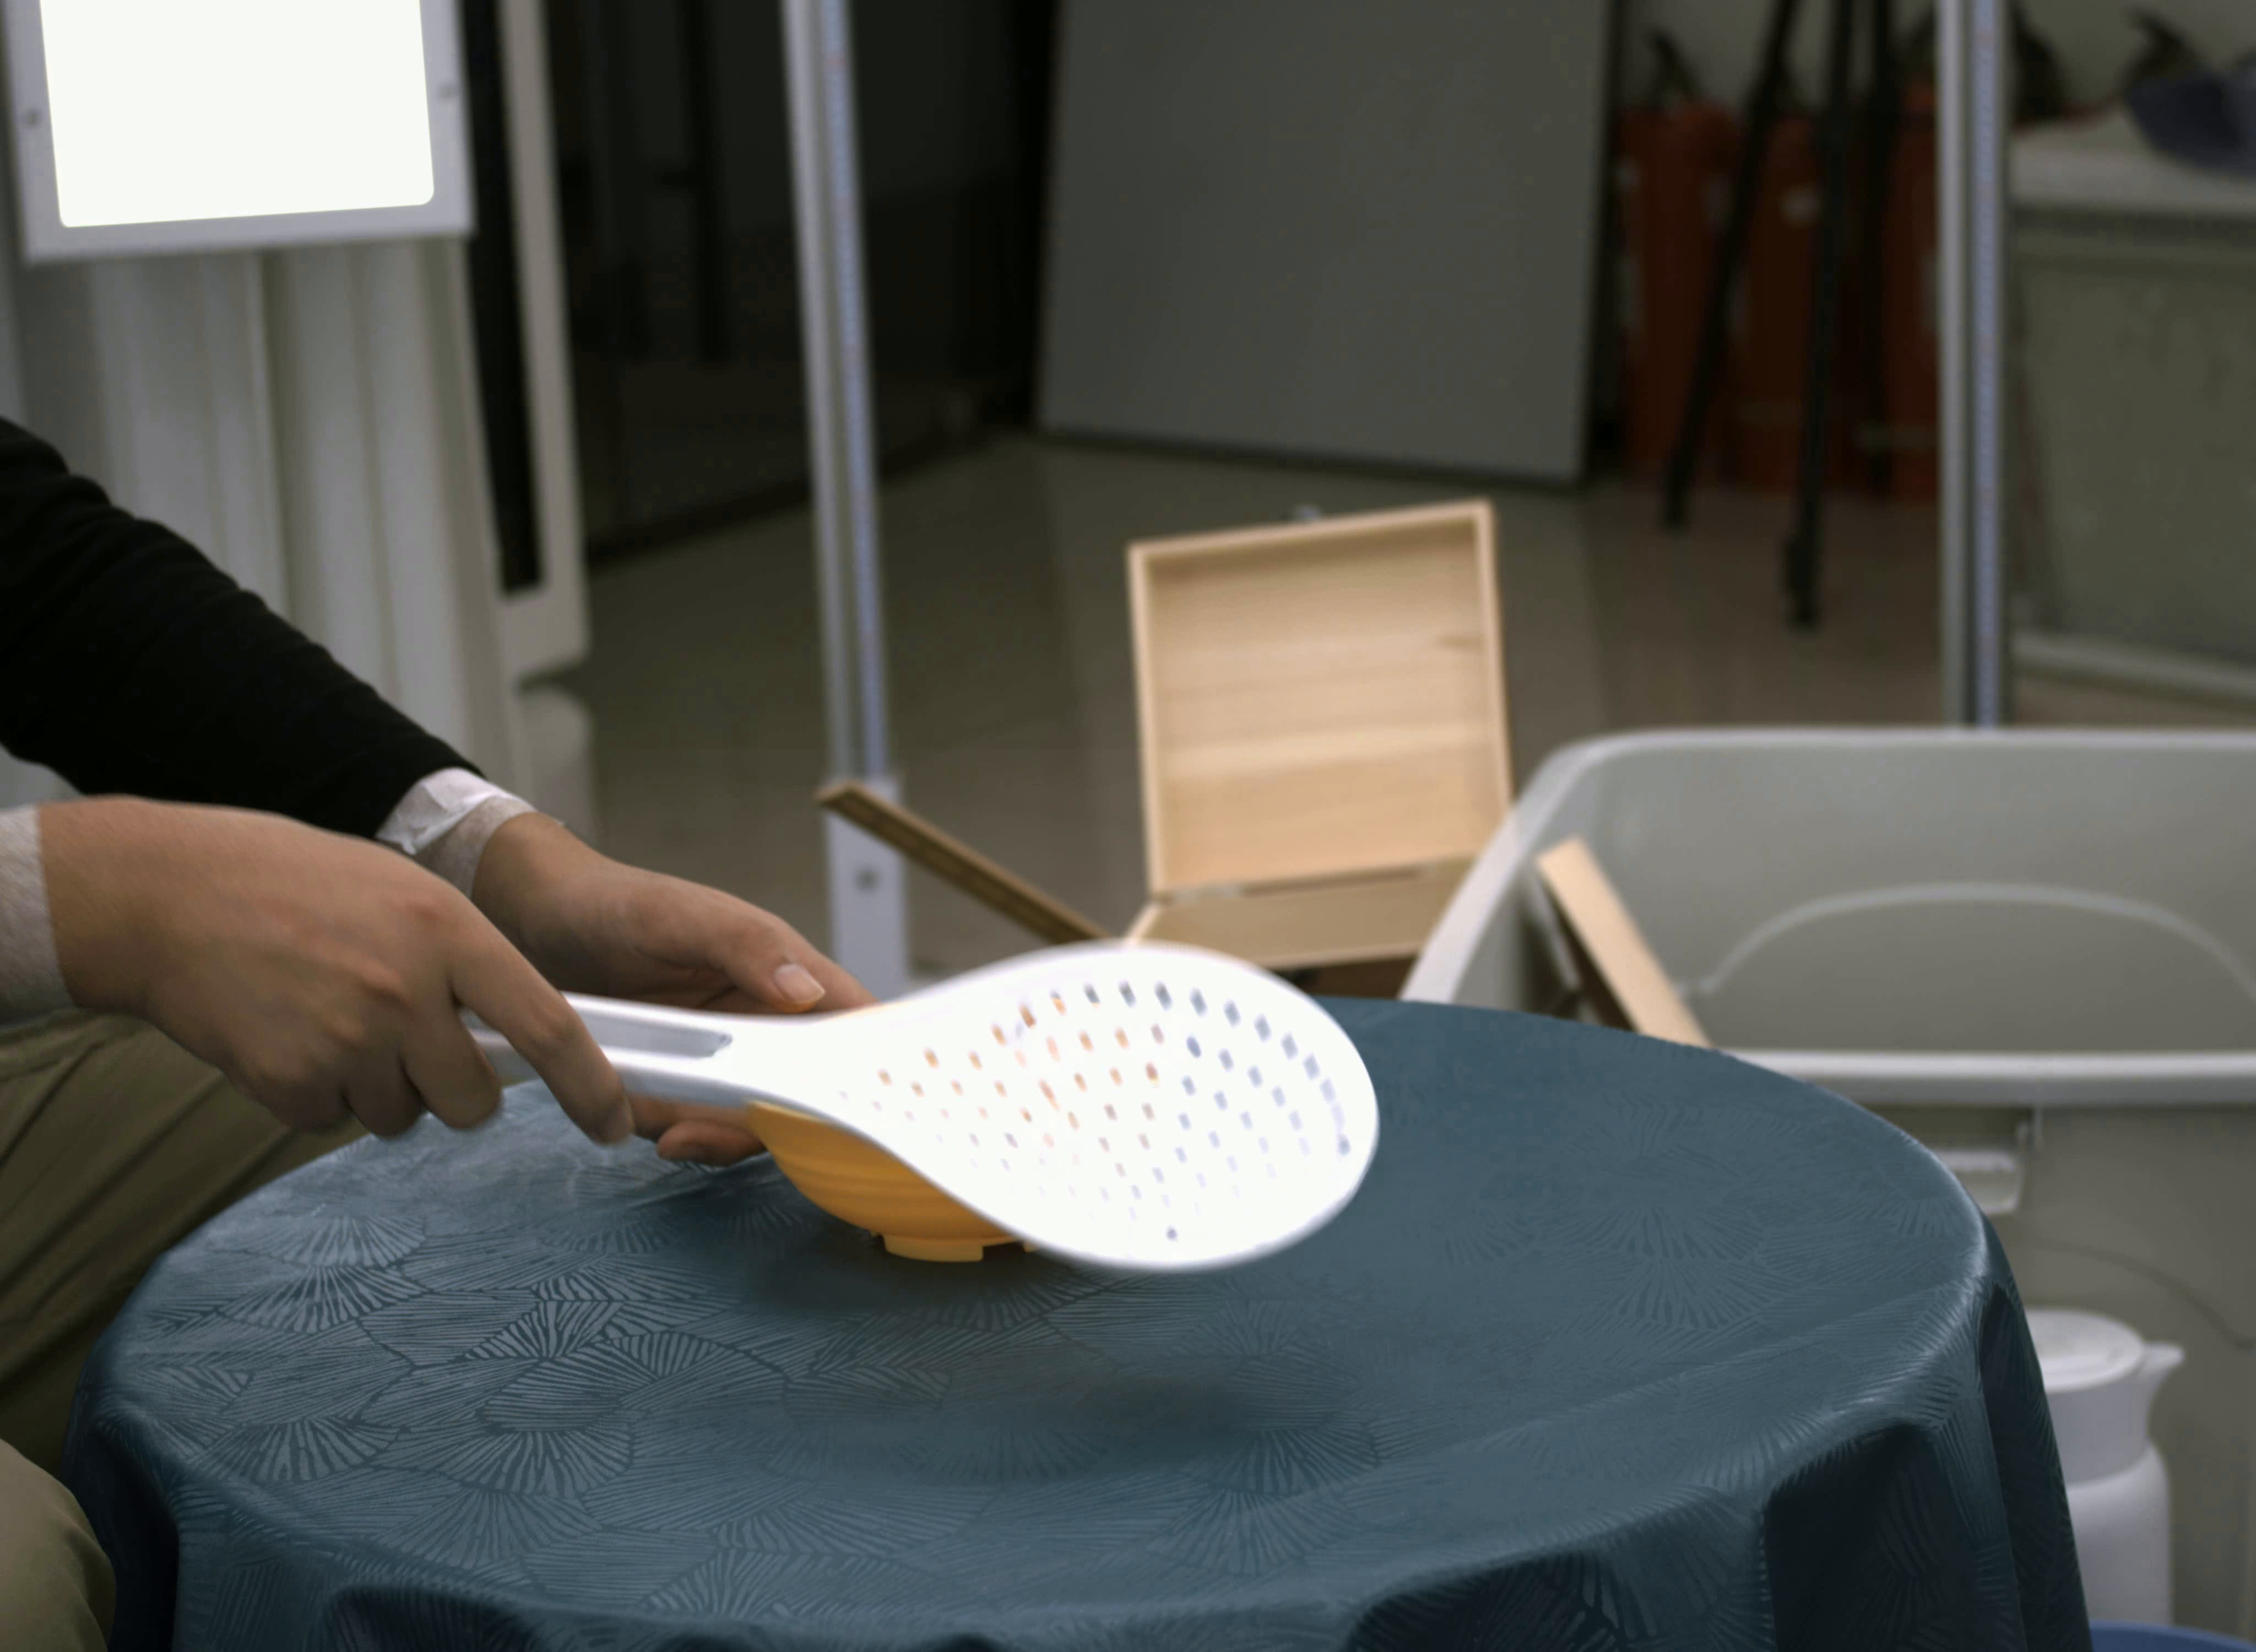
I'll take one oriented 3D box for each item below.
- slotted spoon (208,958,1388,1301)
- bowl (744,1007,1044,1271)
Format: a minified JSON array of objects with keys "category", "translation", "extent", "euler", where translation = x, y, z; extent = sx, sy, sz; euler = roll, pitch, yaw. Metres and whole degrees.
[{"category":"slotted spoon","translation":[-0.097,0.076,1.577],"extent":[0.346,0.046,0.136],"euler":[12,40,2]},{"category":"bowl","translation":[-0.053,0.105,1.735],"extent":[0.143,0.061,0.145],"euler":[-2,13,0]}]
